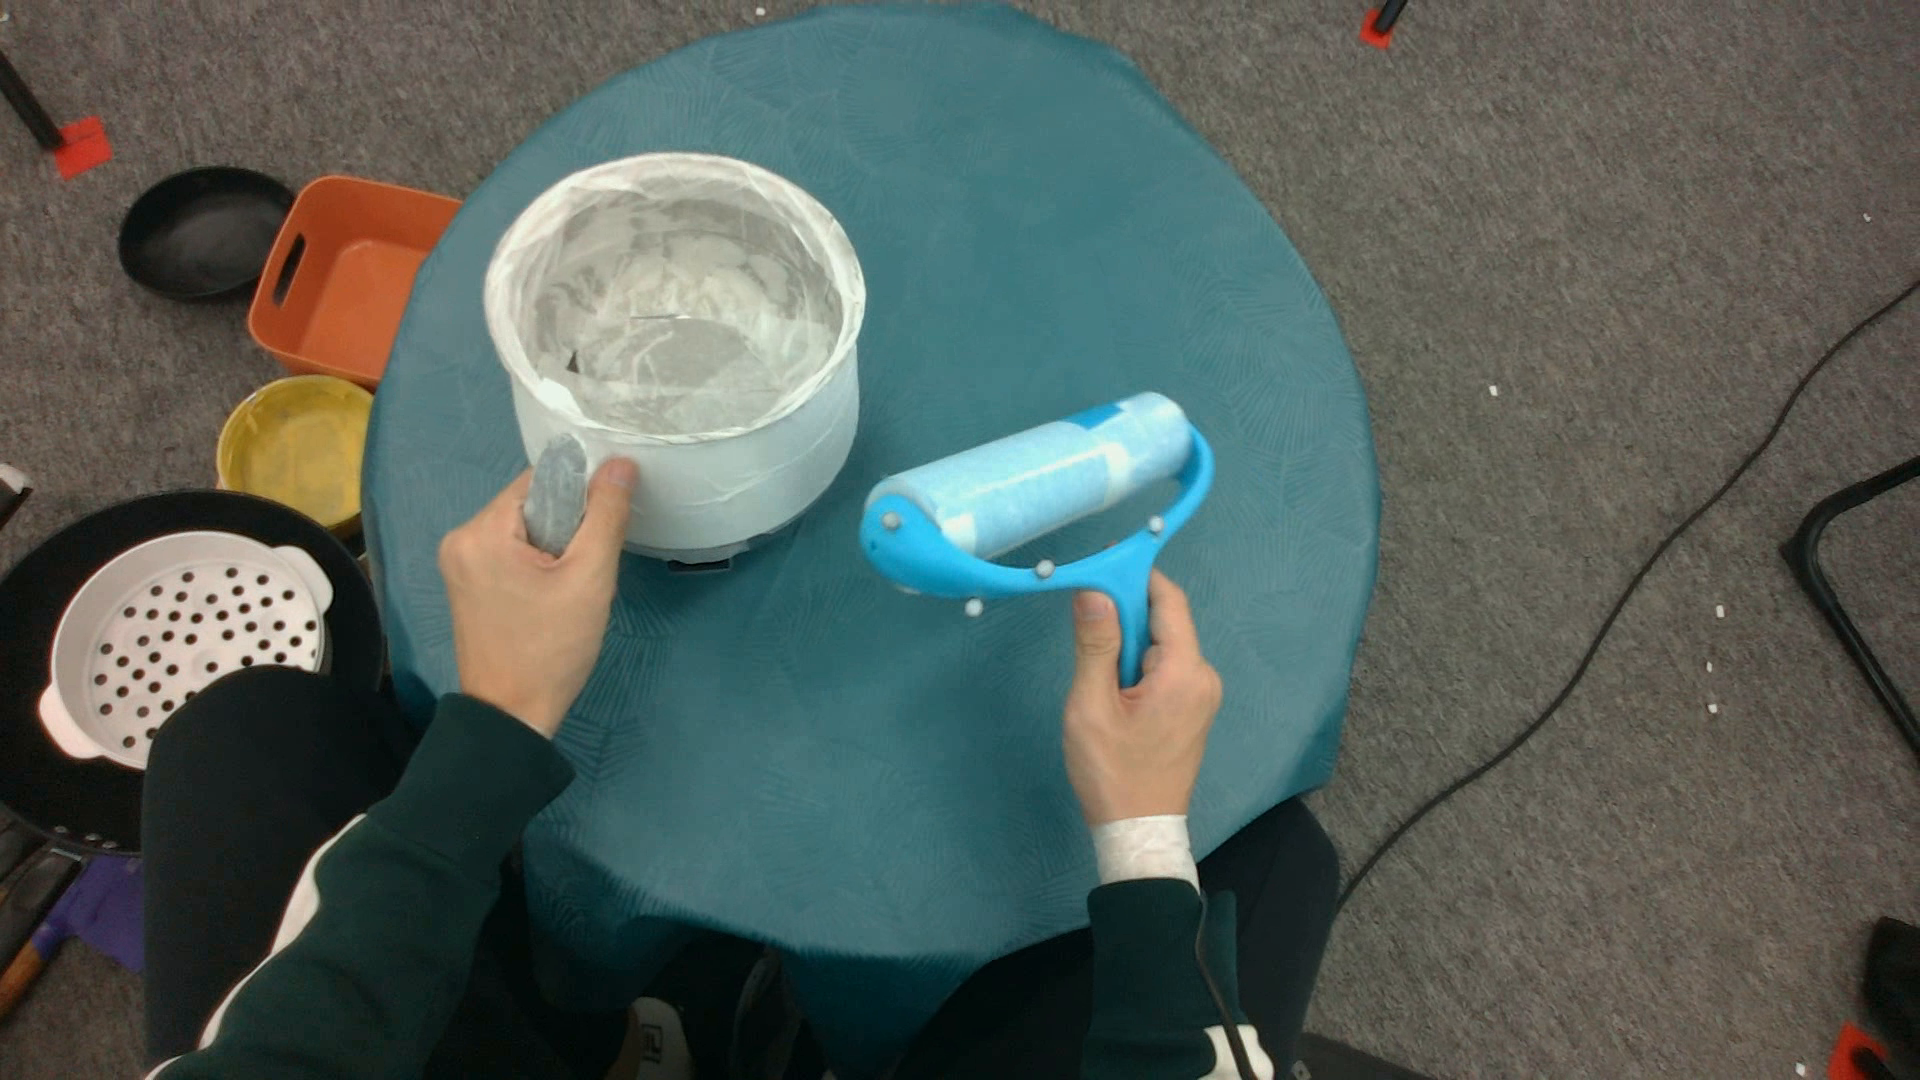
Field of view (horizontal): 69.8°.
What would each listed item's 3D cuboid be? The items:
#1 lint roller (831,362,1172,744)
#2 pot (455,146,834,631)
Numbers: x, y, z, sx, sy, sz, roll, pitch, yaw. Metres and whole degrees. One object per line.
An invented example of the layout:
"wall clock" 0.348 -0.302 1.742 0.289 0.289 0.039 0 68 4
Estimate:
"lint roller" 0.050 0.014 0.688 0.230 0.067 0.180 -32 94 -46
"pot" -0.165 -0.070 0.694 0.178 0.136 0.235 20 58 5
